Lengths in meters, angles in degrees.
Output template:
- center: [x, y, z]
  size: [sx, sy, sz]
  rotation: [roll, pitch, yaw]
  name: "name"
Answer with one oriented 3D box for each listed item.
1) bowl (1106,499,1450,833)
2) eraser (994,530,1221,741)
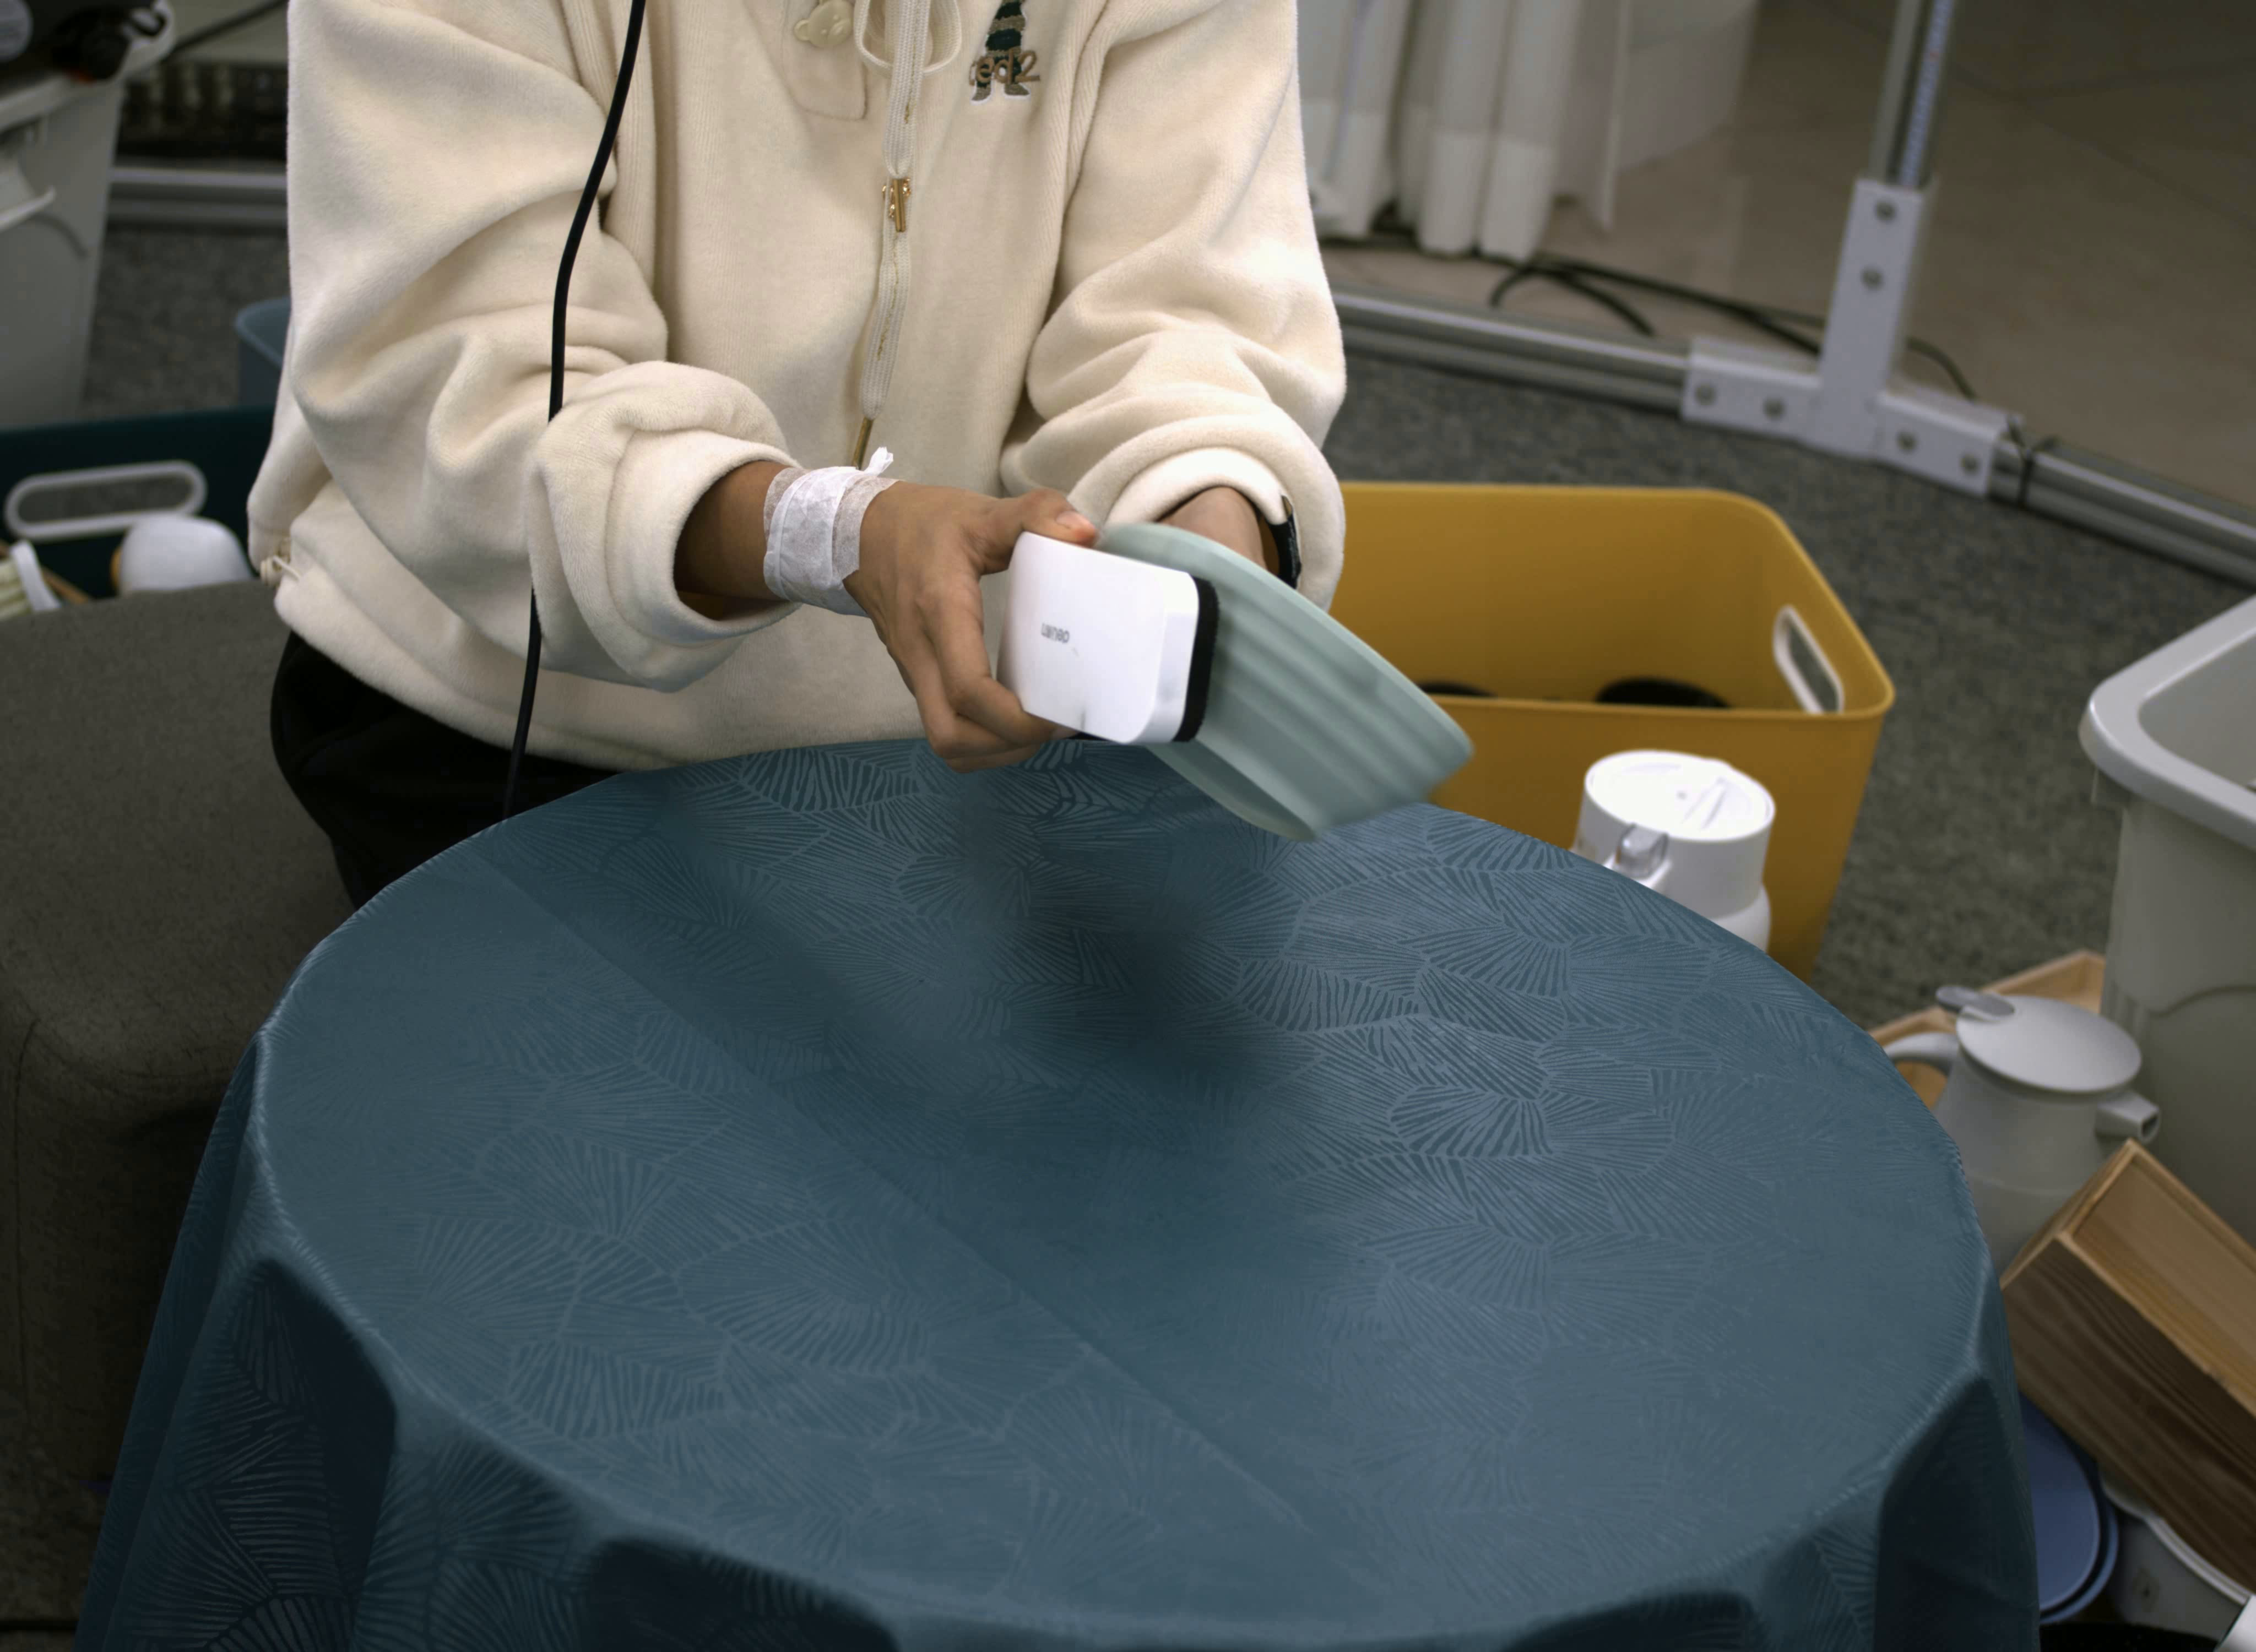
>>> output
- center: [0.038, -0.047, 1.860]
  size: [0.058, 0.150, 0.153]
  rotation: [-50, 48, -7]
  name: "bowl"
- center: [-0.011, -0.066, 1.816]
  size: [0.034, 0.063, 0.132]
  rotation: [6, 5, -25]
  name: "eraser"
